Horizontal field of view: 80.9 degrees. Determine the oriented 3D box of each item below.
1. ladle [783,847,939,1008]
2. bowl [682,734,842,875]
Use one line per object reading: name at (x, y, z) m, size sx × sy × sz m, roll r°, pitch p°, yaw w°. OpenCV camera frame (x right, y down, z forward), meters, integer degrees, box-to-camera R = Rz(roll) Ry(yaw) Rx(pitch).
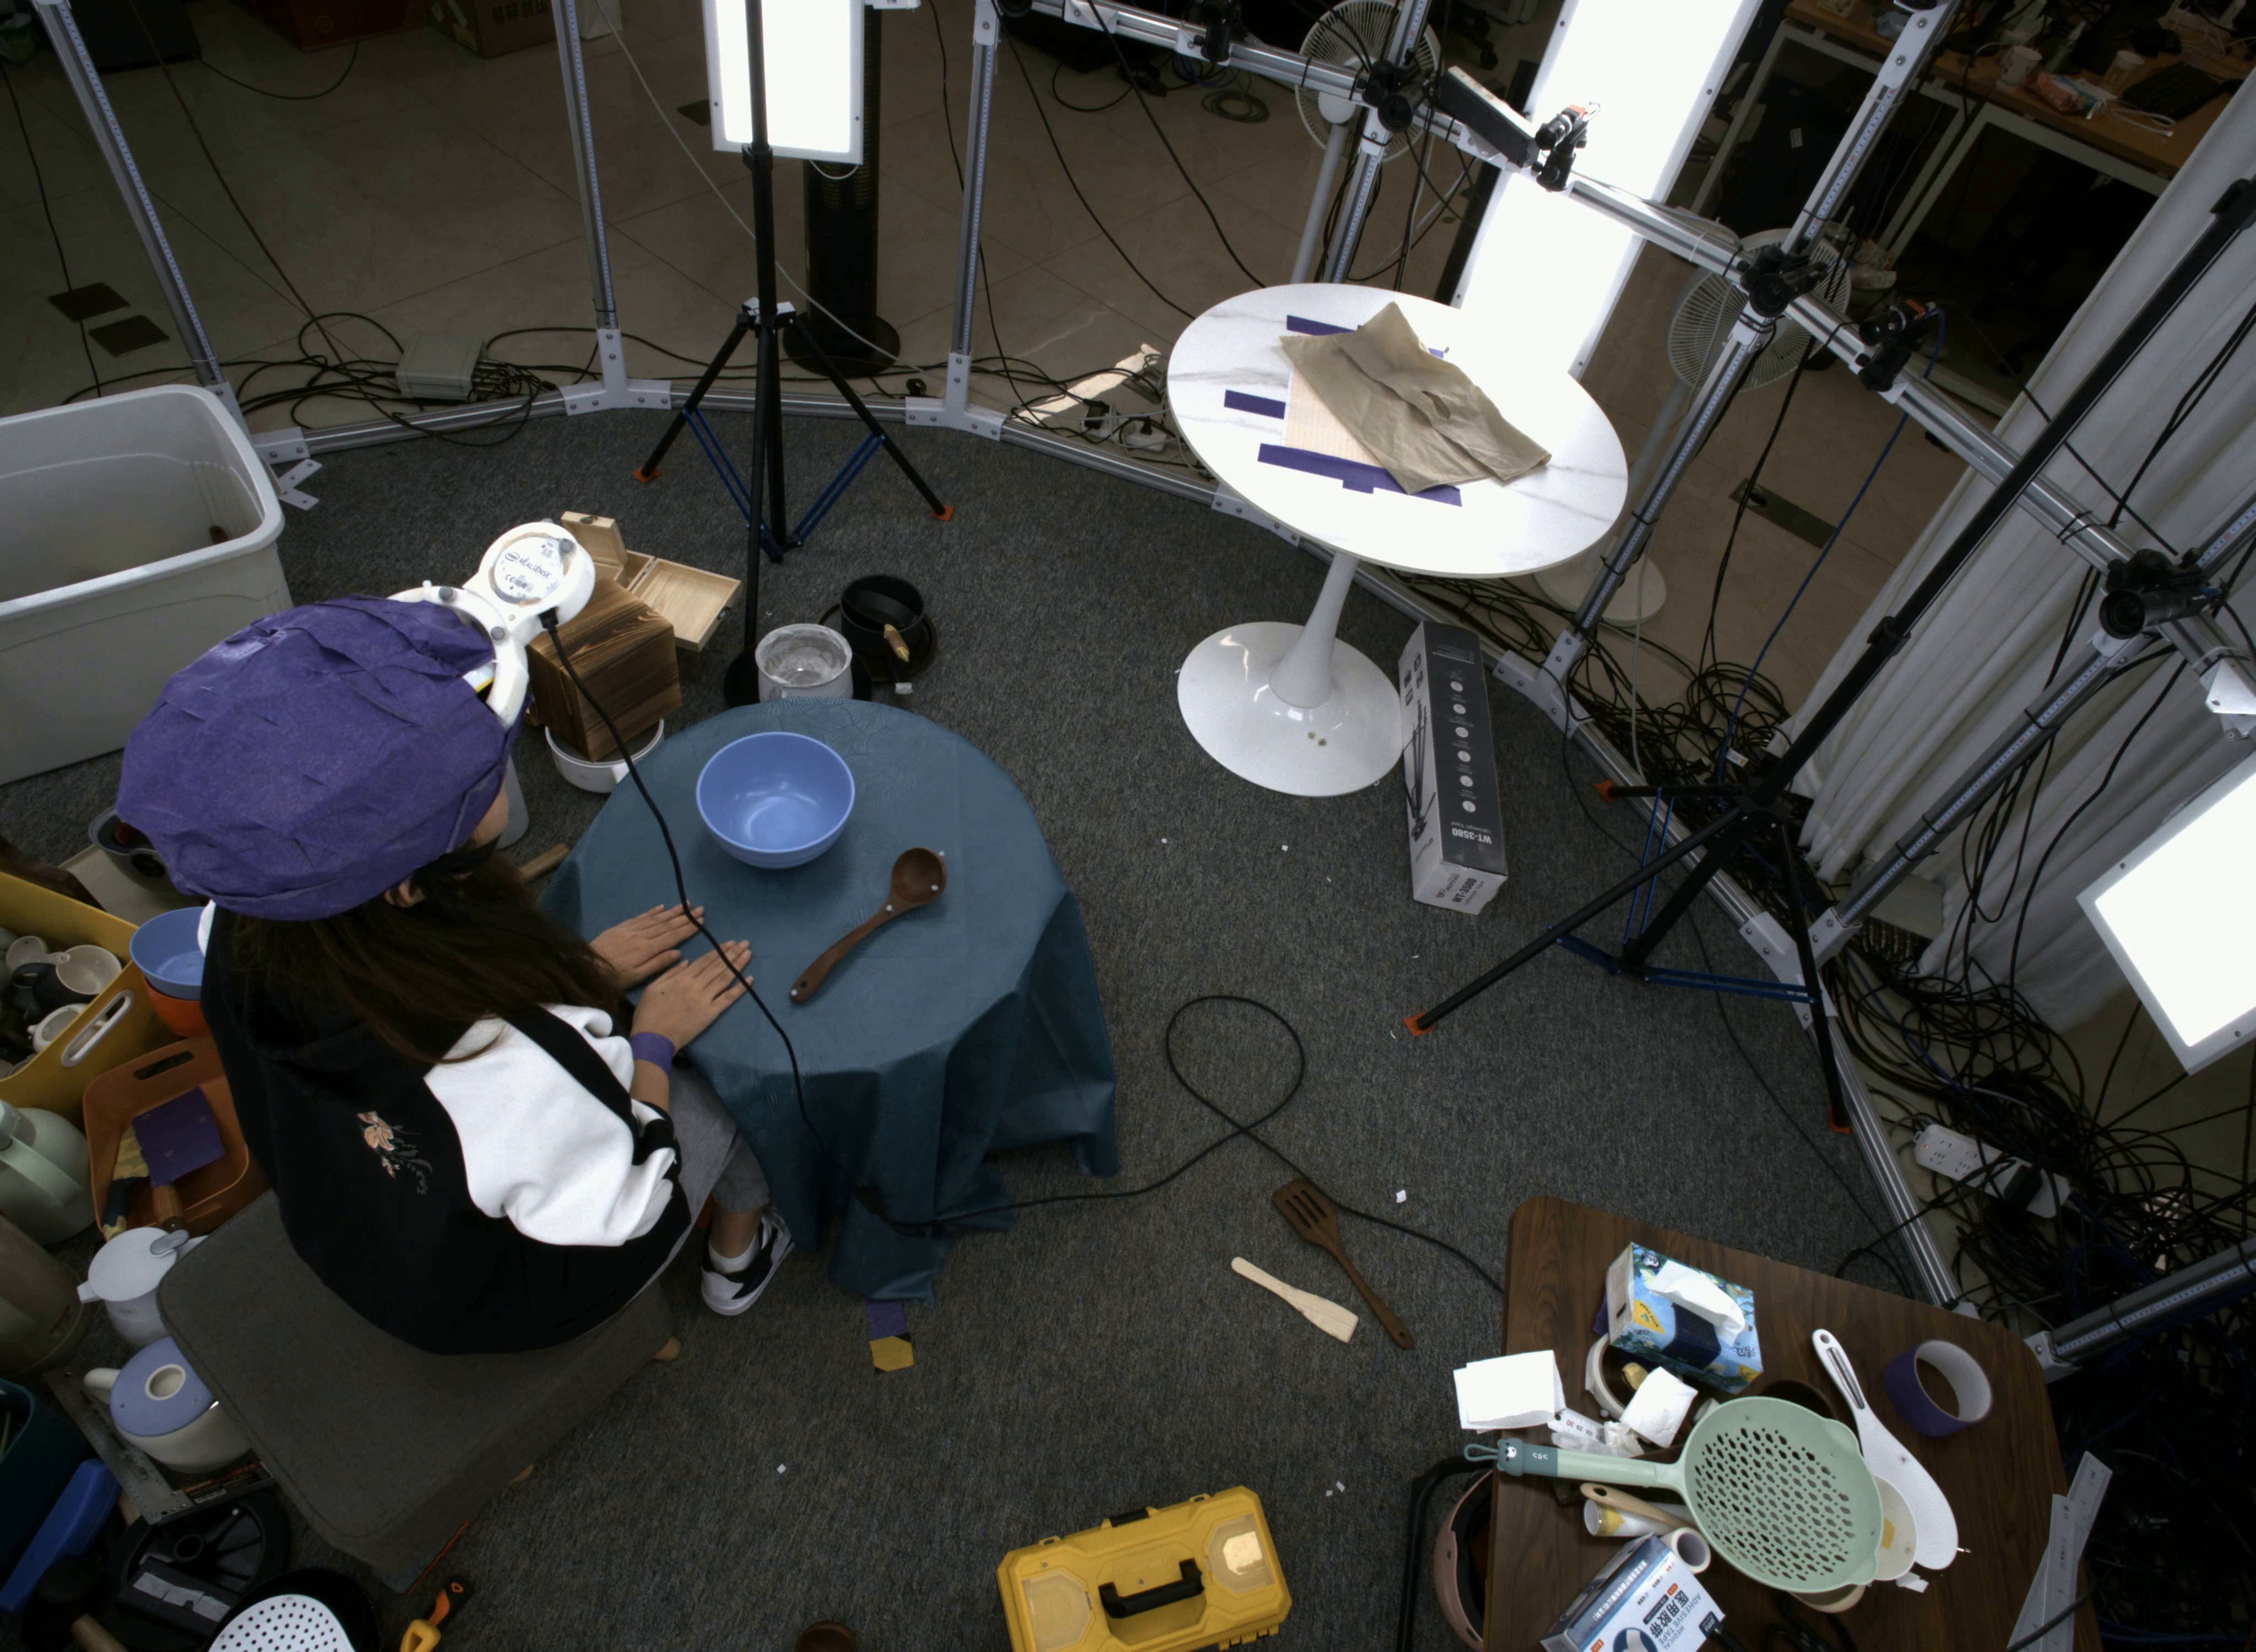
ladle at (-0.334, 0.121, 1.612) m, size 0.074 × 0.067 × 0.260 m, roll 31°, pitch 52°, yaw 19°
bowl at (-0.470, -0.014, 1.657) m, size 0.197 × 0.097 × 0.193 m, roll 12°, pitch 51°, yaw -13°
